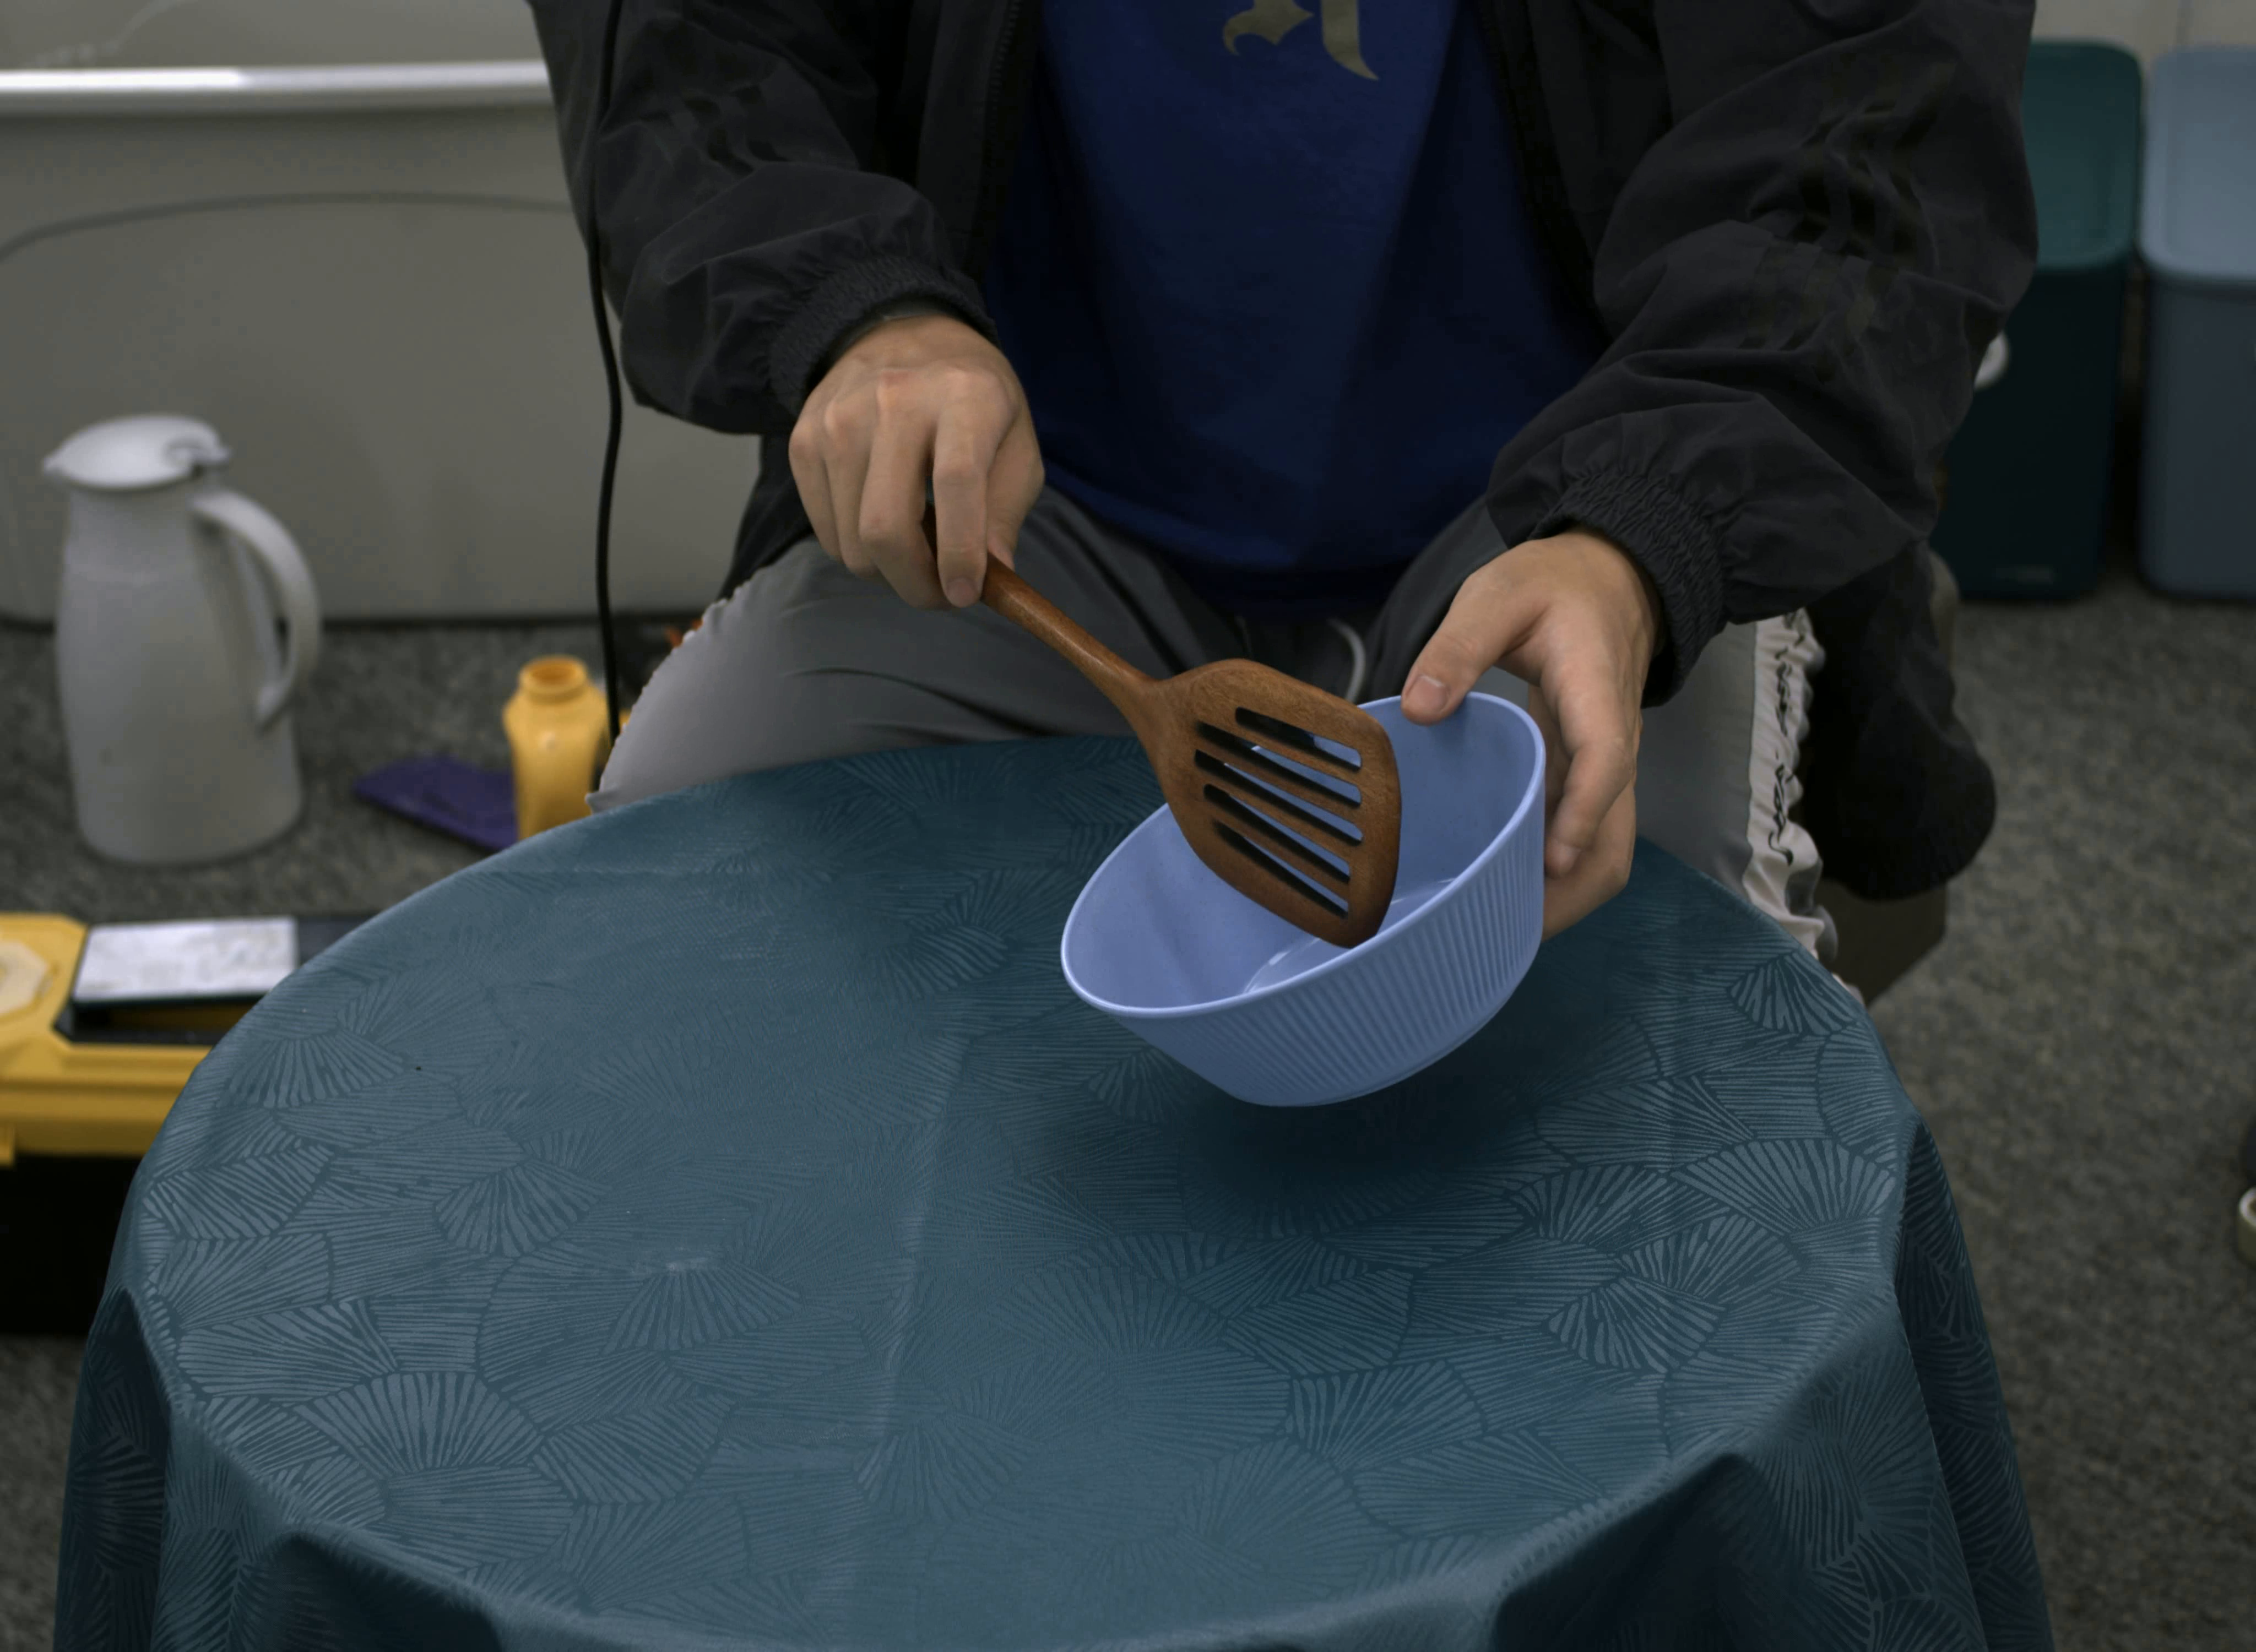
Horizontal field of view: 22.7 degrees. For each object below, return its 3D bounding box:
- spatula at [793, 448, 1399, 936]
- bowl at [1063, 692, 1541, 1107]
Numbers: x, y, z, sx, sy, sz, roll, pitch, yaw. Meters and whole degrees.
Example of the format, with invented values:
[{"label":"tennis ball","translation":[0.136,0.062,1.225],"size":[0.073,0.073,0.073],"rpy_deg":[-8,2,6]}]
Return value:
[{"label":"spatula","translation":[-0.023,-0.065,1.958],"size":[0.024,0.085,0.388],"rpy_deg":[-7,24,-31]},{"label":"bowl","translation":[0.069,0.033,1.861],"size":[0.174,0.070,0.178],"rpy_deg":[-24,23,11]}]
